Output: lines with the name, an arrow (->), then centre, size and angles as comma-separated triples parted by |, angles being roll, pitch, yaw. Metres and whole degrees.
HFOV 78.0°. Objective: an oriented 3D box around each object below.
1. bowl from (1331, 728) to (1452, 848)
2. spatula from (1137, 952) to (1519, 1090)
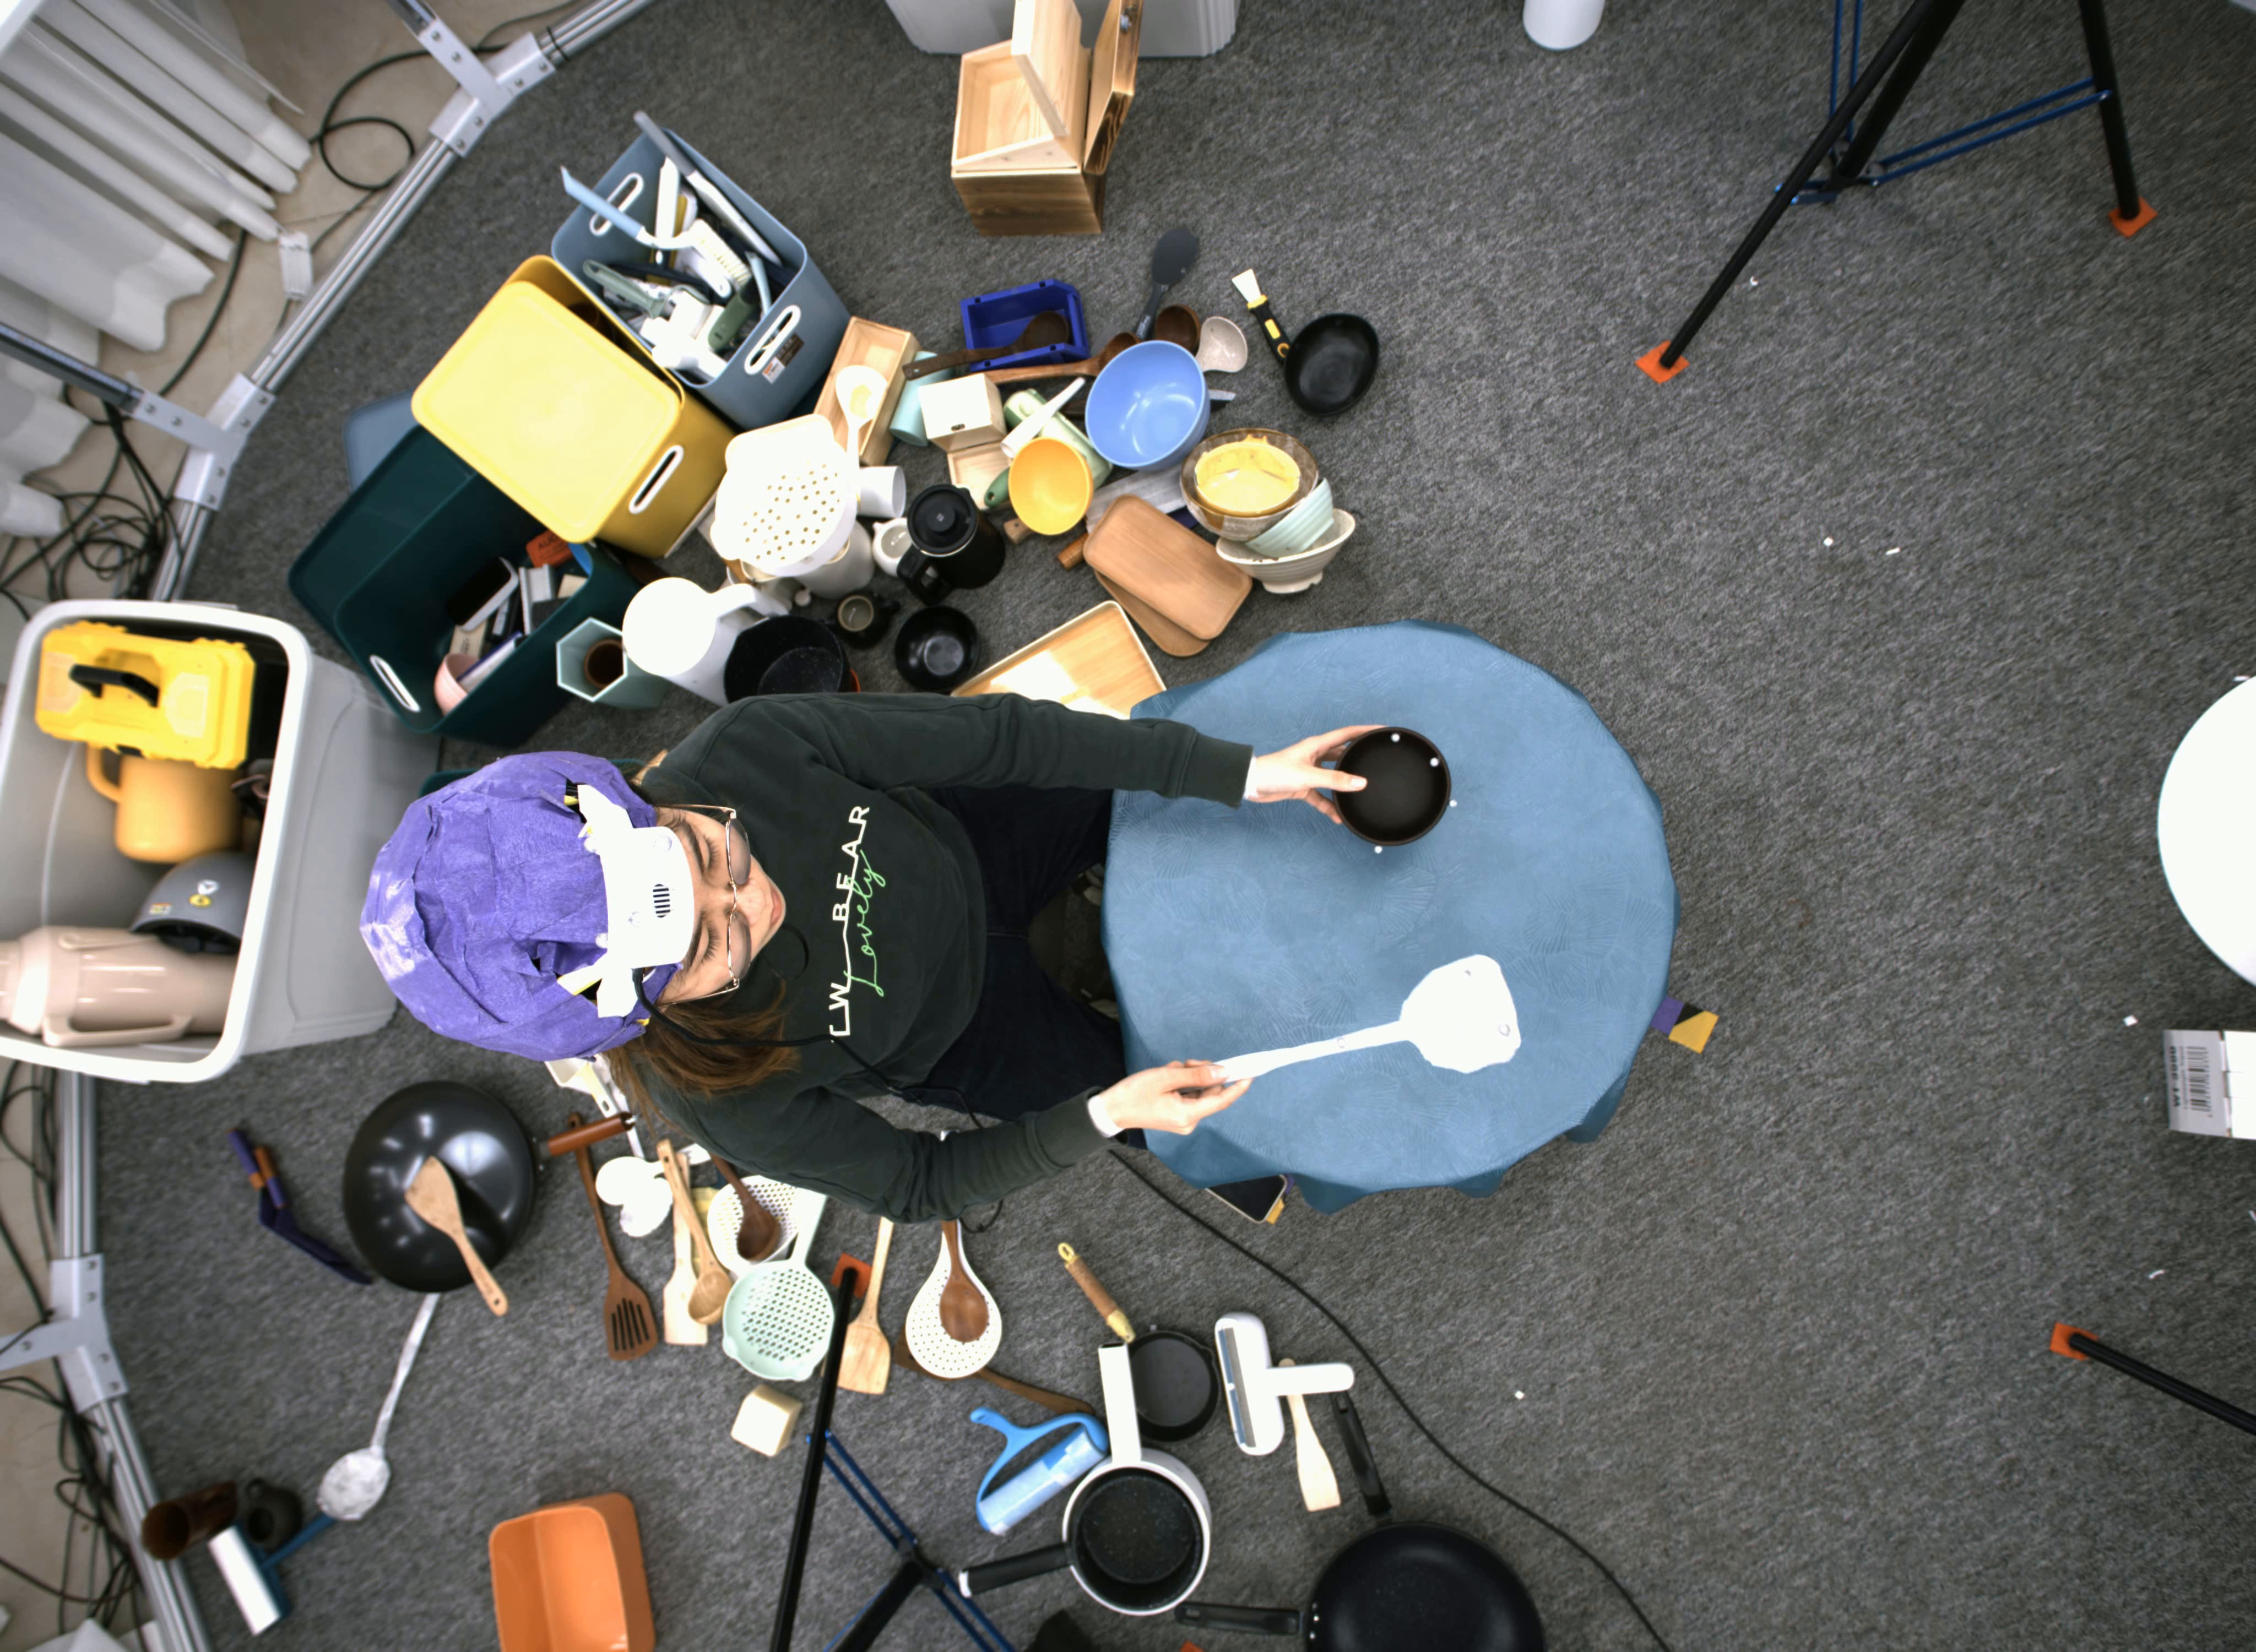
bowl -> 0.262, -0.038, 1.365 | 0.118, 0.069, 0.118 | 0, 92, 13
spatula -> 0.178, 0.201, 1.286 | 0.367, 0.045, 0.098 | -15, 79, 13
